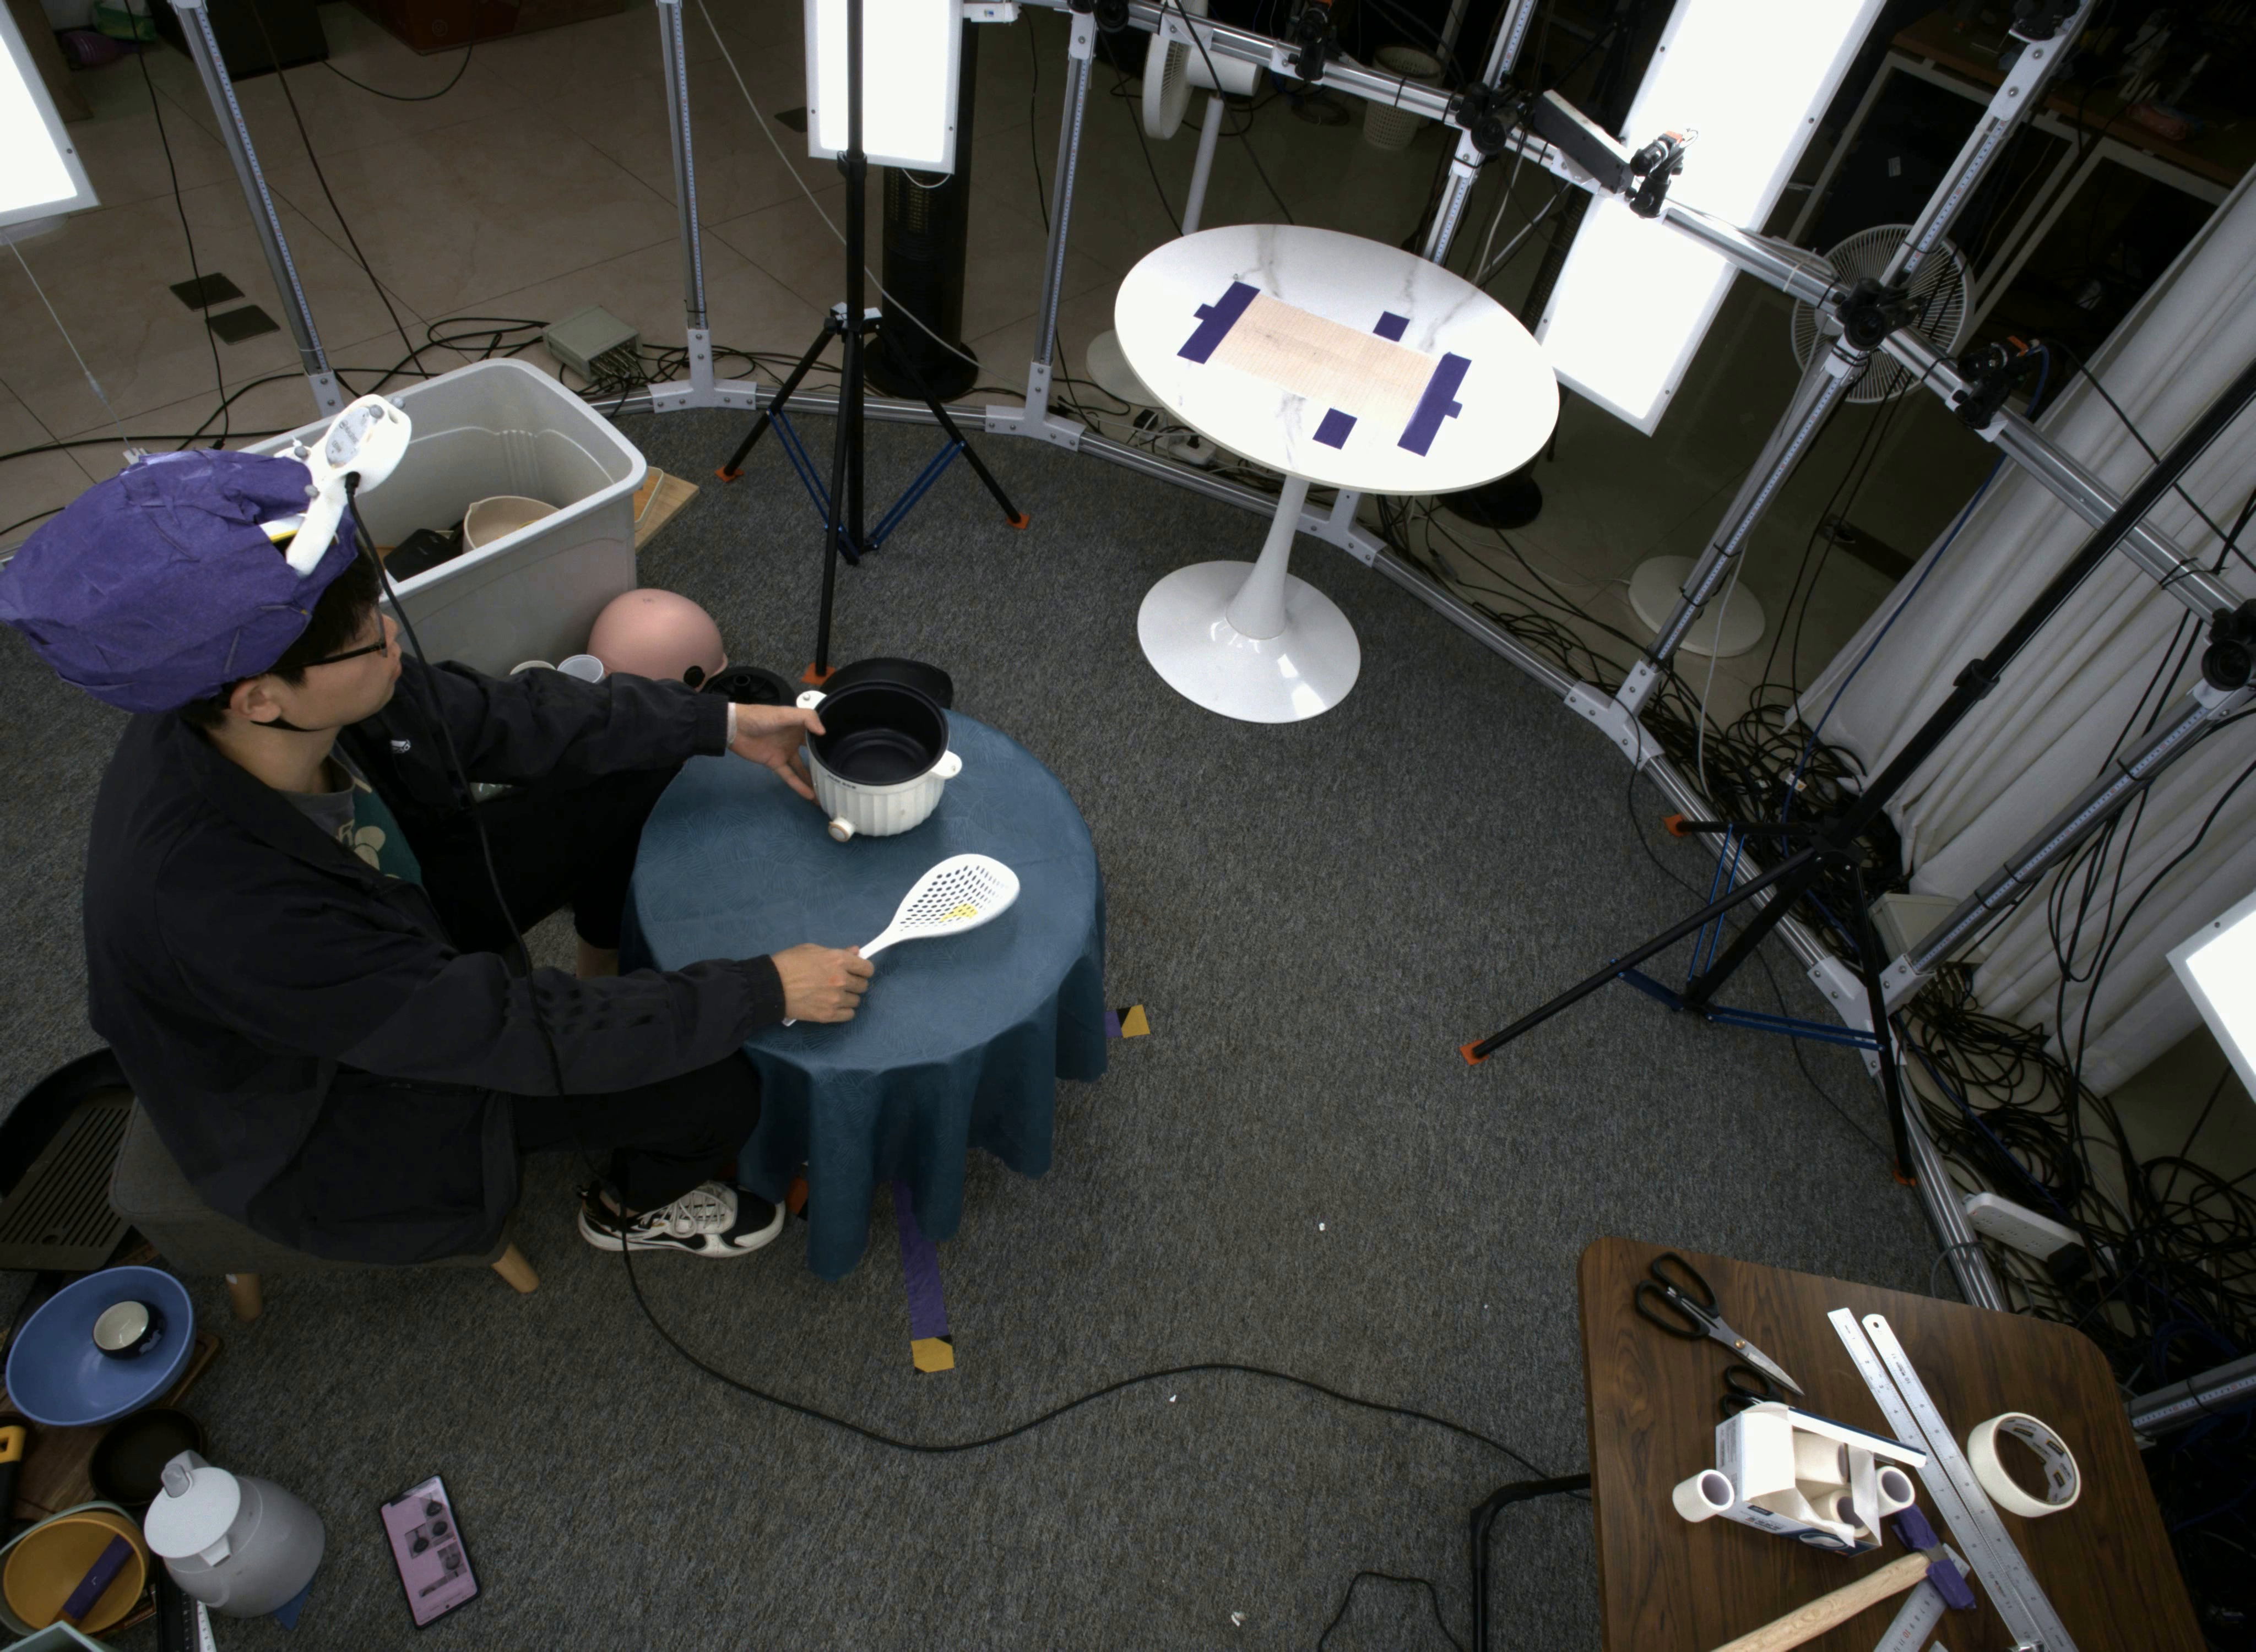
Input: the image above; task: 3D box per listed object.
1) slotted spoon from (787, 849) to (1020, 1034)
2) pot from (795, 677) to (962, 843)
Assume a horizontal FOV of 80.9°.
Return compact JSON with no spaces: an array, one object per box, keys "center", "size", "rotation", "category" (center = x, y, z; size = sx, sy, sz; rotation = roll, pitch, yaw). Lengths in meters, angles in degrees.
[{"center":[-0.285,0.143,1.621],"size":[0.349,0.052,0.132],"rotation":[-32,53,-33],"category":"slotted spoon"},{"center":[-0.331,-0.079,1.717],"size":[0.236,0.146,0.189],"rotation":[23,49,8],"category":"pot"}]
